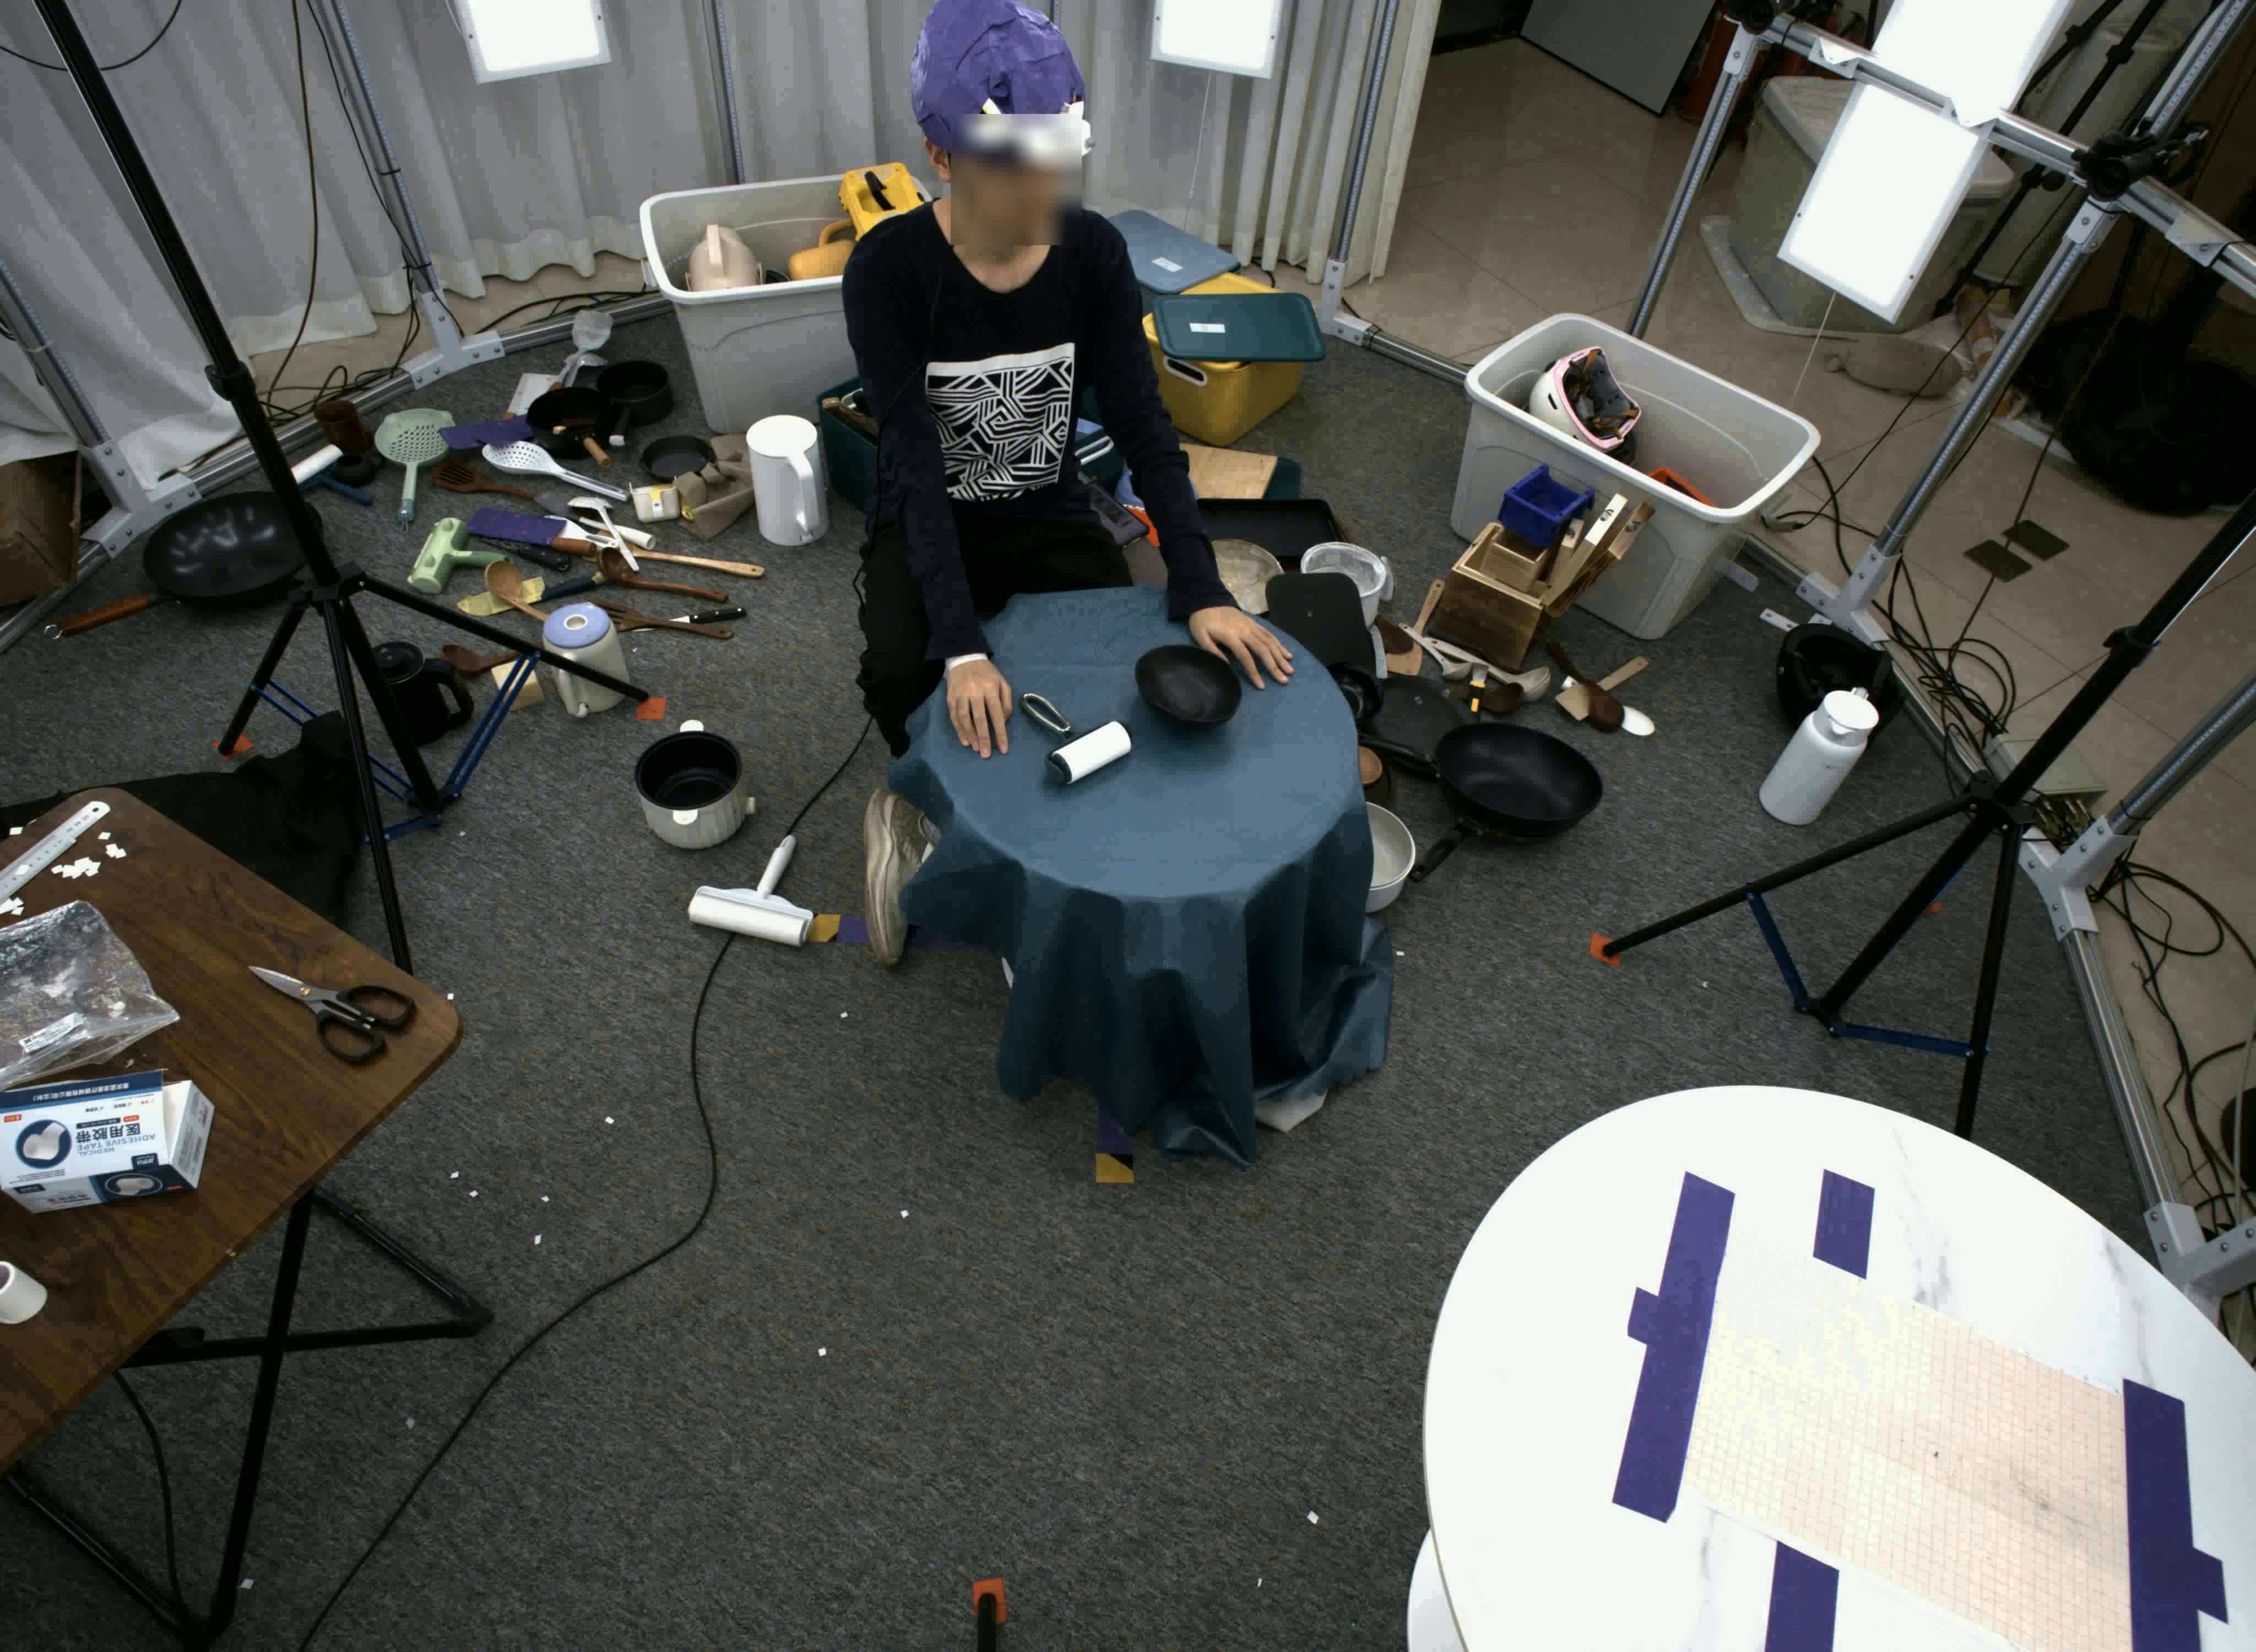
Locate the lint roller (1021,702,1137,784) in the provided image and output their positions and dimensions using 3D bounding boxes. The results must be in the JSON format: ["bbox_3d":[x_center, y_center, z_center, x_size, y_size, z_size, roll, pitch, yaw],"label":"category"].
[{"bbox_3d":[-0.091,-0.137,1.756,0.135,0.047,0.183,-30,52,-25],"label":"lint roller"}]

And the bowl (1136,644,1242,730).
[{"bbox_3d":[0.081,-0.185,1.791,0.138,0.065,0.173,-27,54,-24],"label":"bowl"}]
